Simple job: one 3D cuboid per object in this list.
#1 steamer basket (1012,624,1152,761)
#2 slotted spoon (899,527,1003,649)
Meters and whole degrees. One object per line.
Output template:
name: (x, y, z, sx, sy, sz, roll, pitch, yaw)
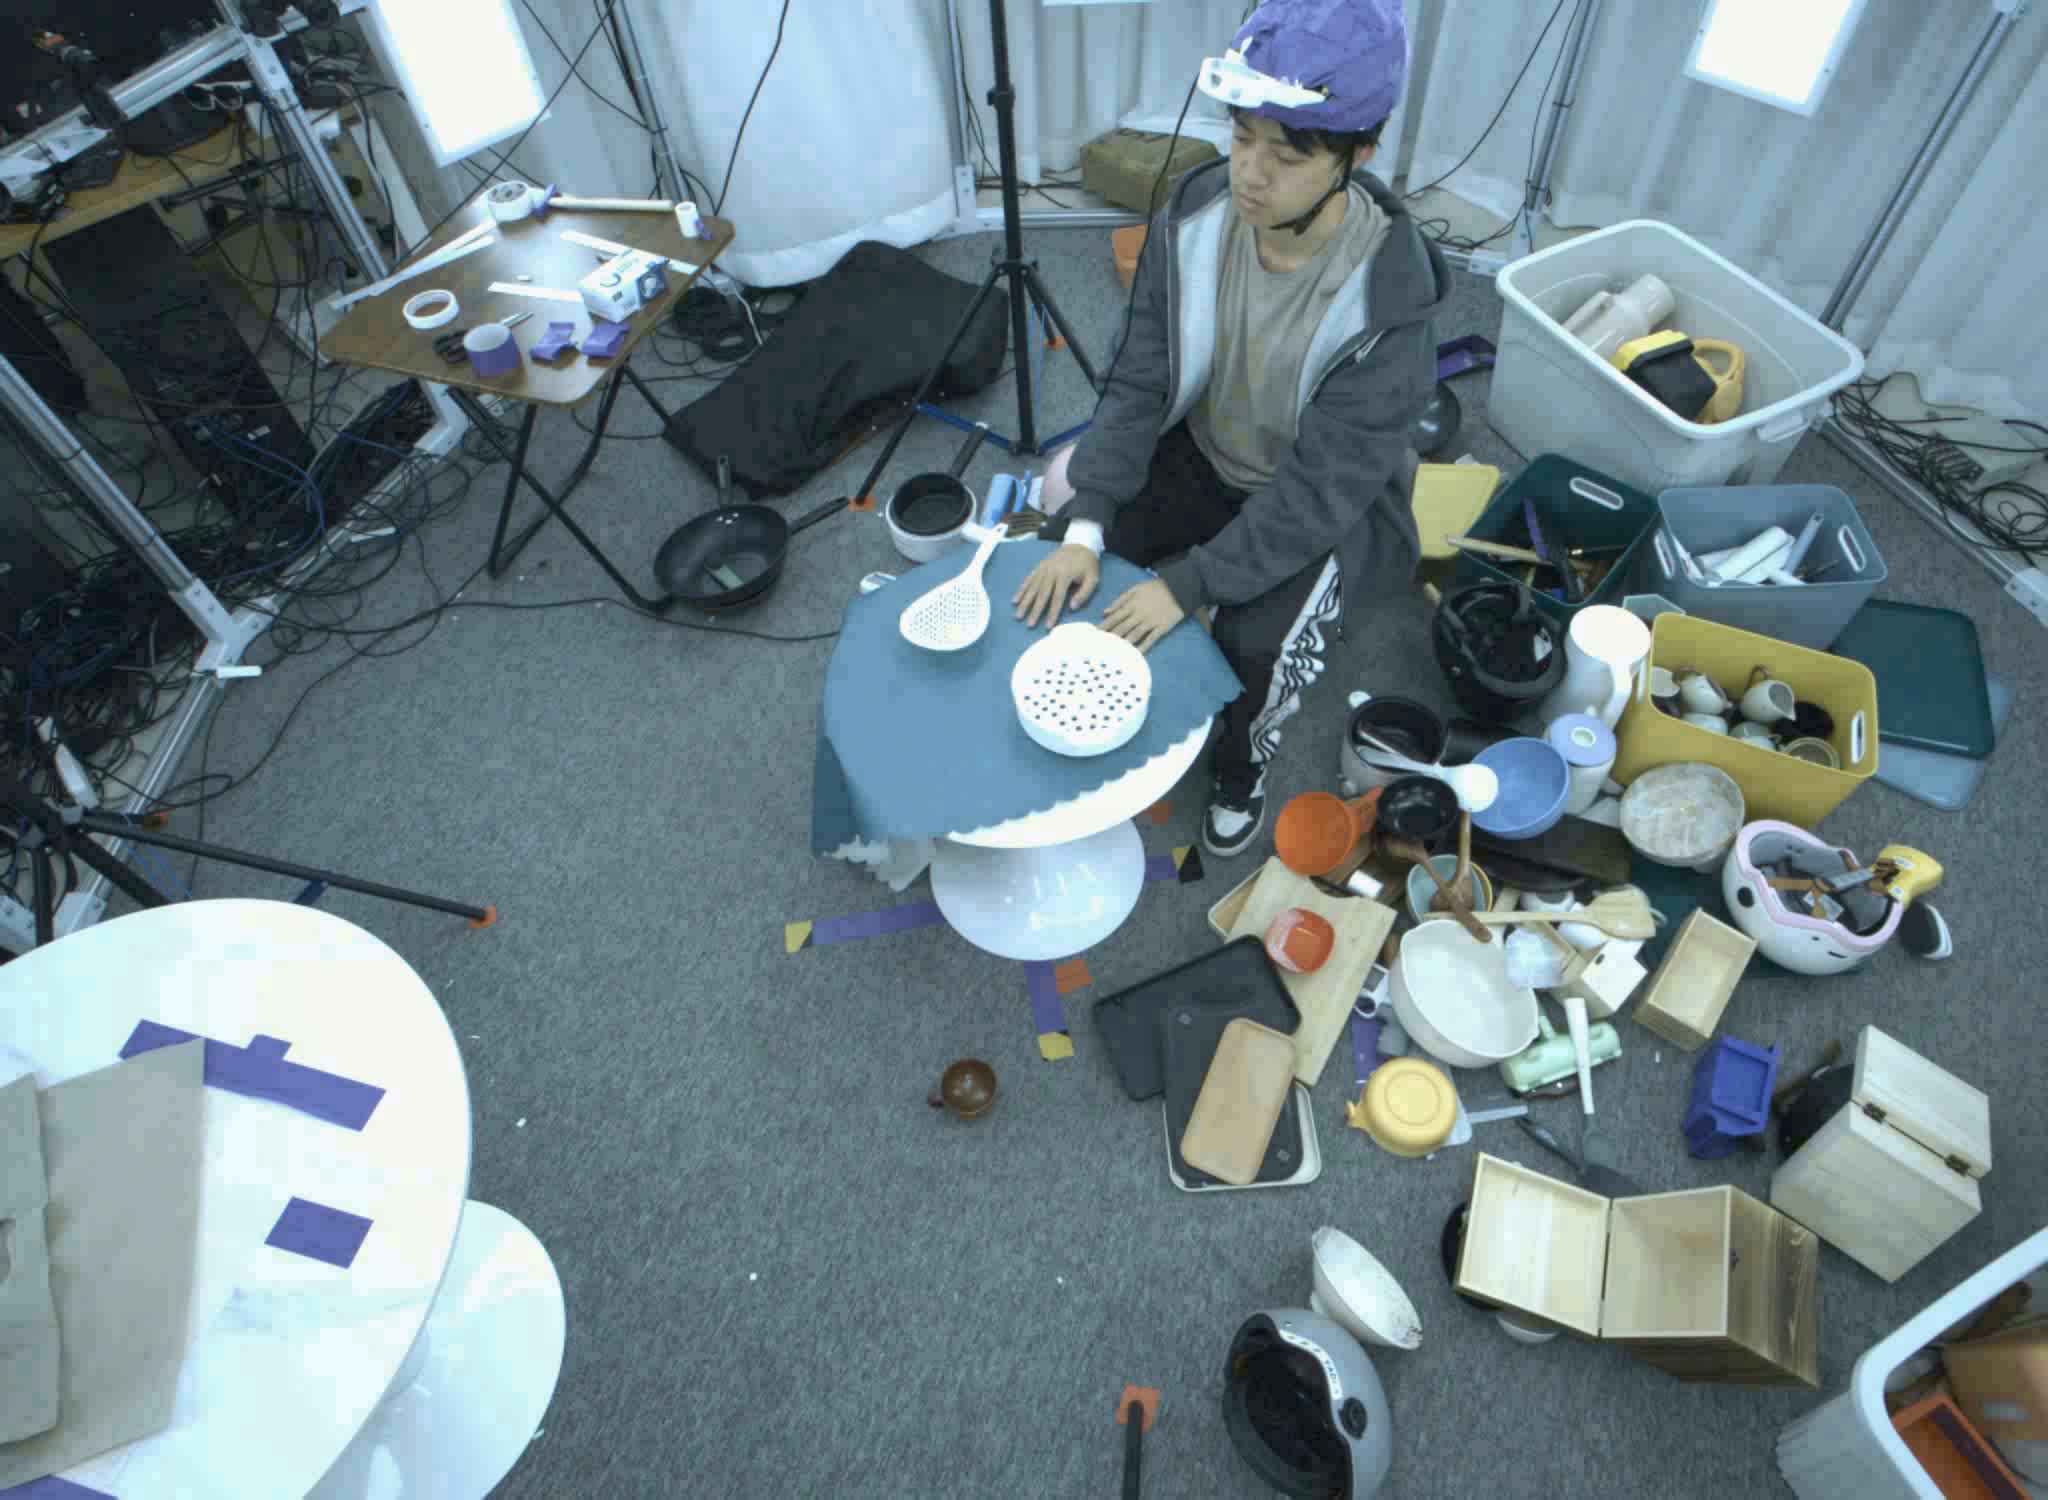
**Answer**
steamer basket: (0.085, -0.079, 1.802, 0.202, 0.070, 0.227, -6, 57, -3)
slotted spoon: (-0.088, -0.269, 1.969, 0.135, 0.051, 0.347, 9, 50, 15)
